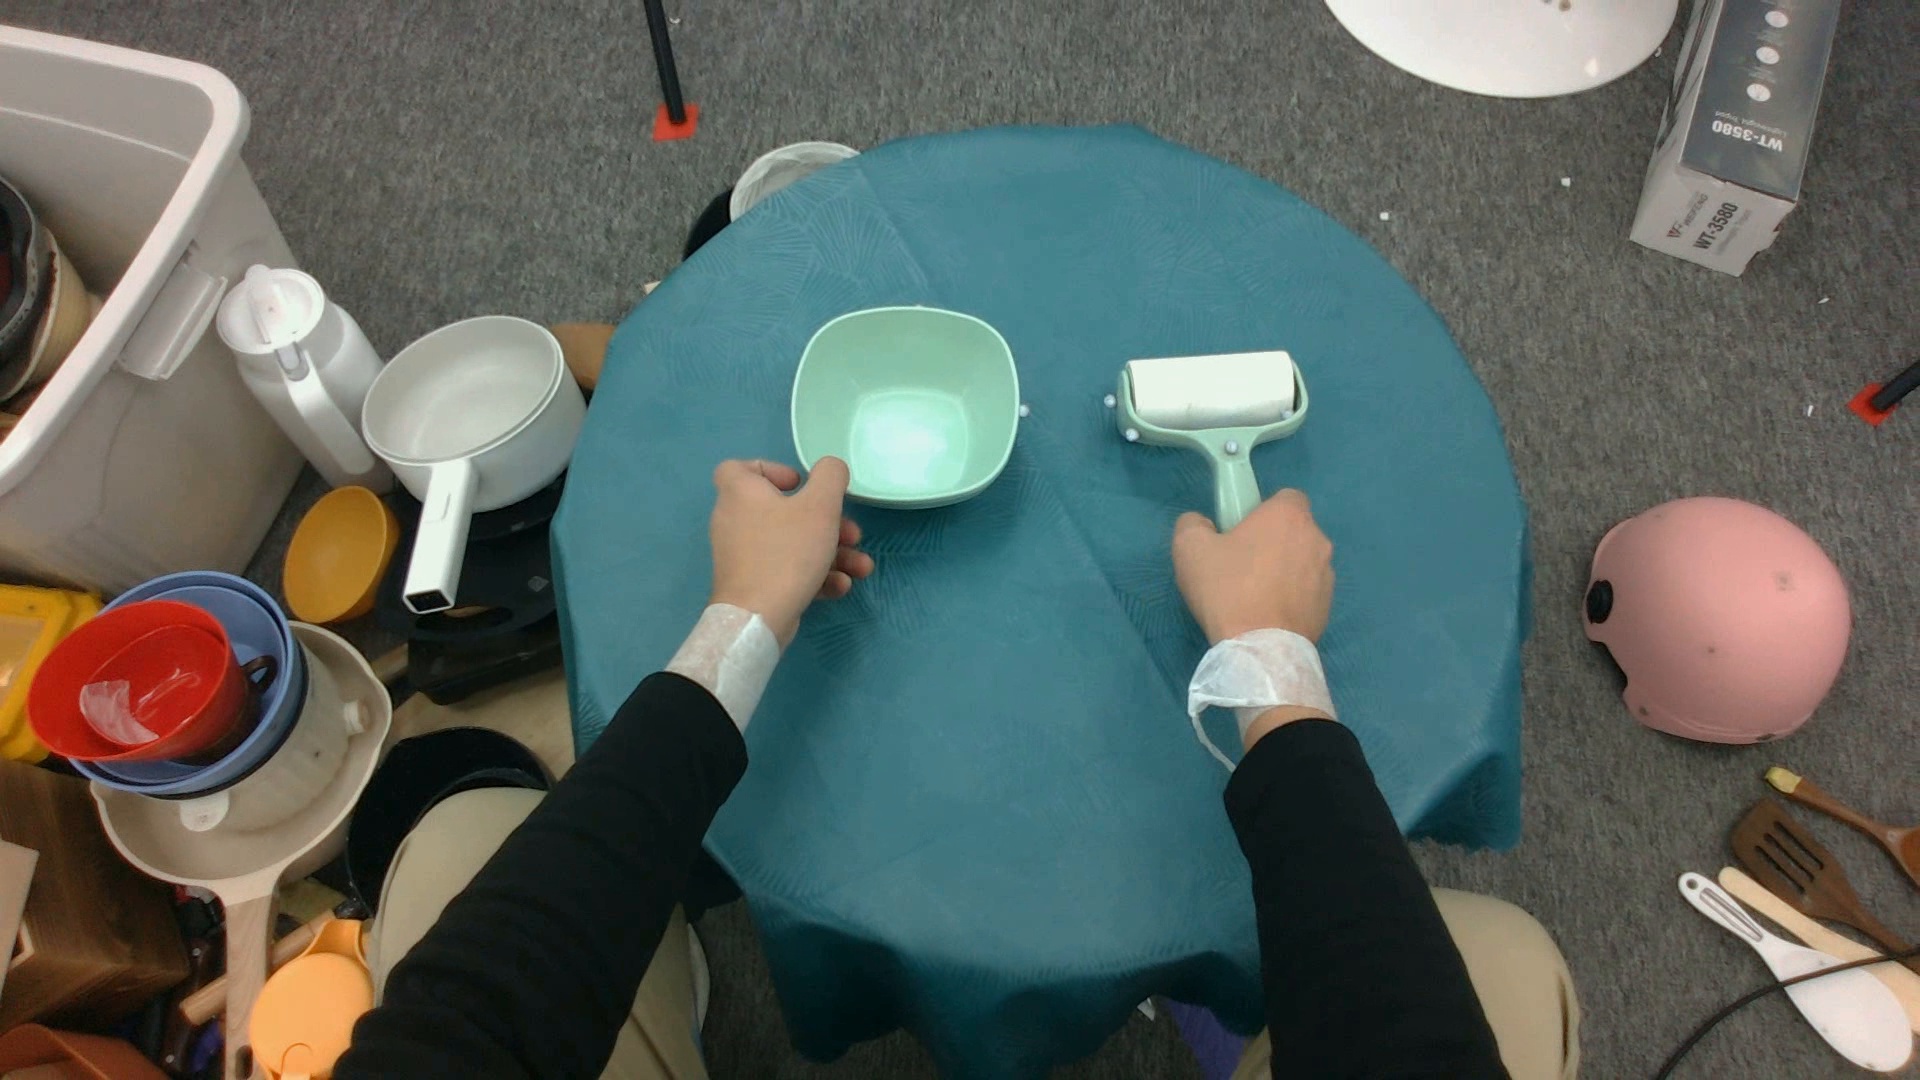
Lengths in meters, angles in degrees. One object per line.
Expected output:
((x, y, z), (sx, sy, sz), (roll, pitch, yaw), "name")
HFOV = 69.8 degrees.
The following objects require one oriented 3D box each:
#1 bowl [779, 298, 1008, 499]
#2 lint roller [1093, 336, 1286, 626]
((-0.040, -0.078, 0.856), (0.151, 0.058, 0.152), (1, 62, -1), "bowl")
((0.149, -0.041, 0.830), (0.117, 0.048, 0.198), (-4, 55, -4), "lint roller")
